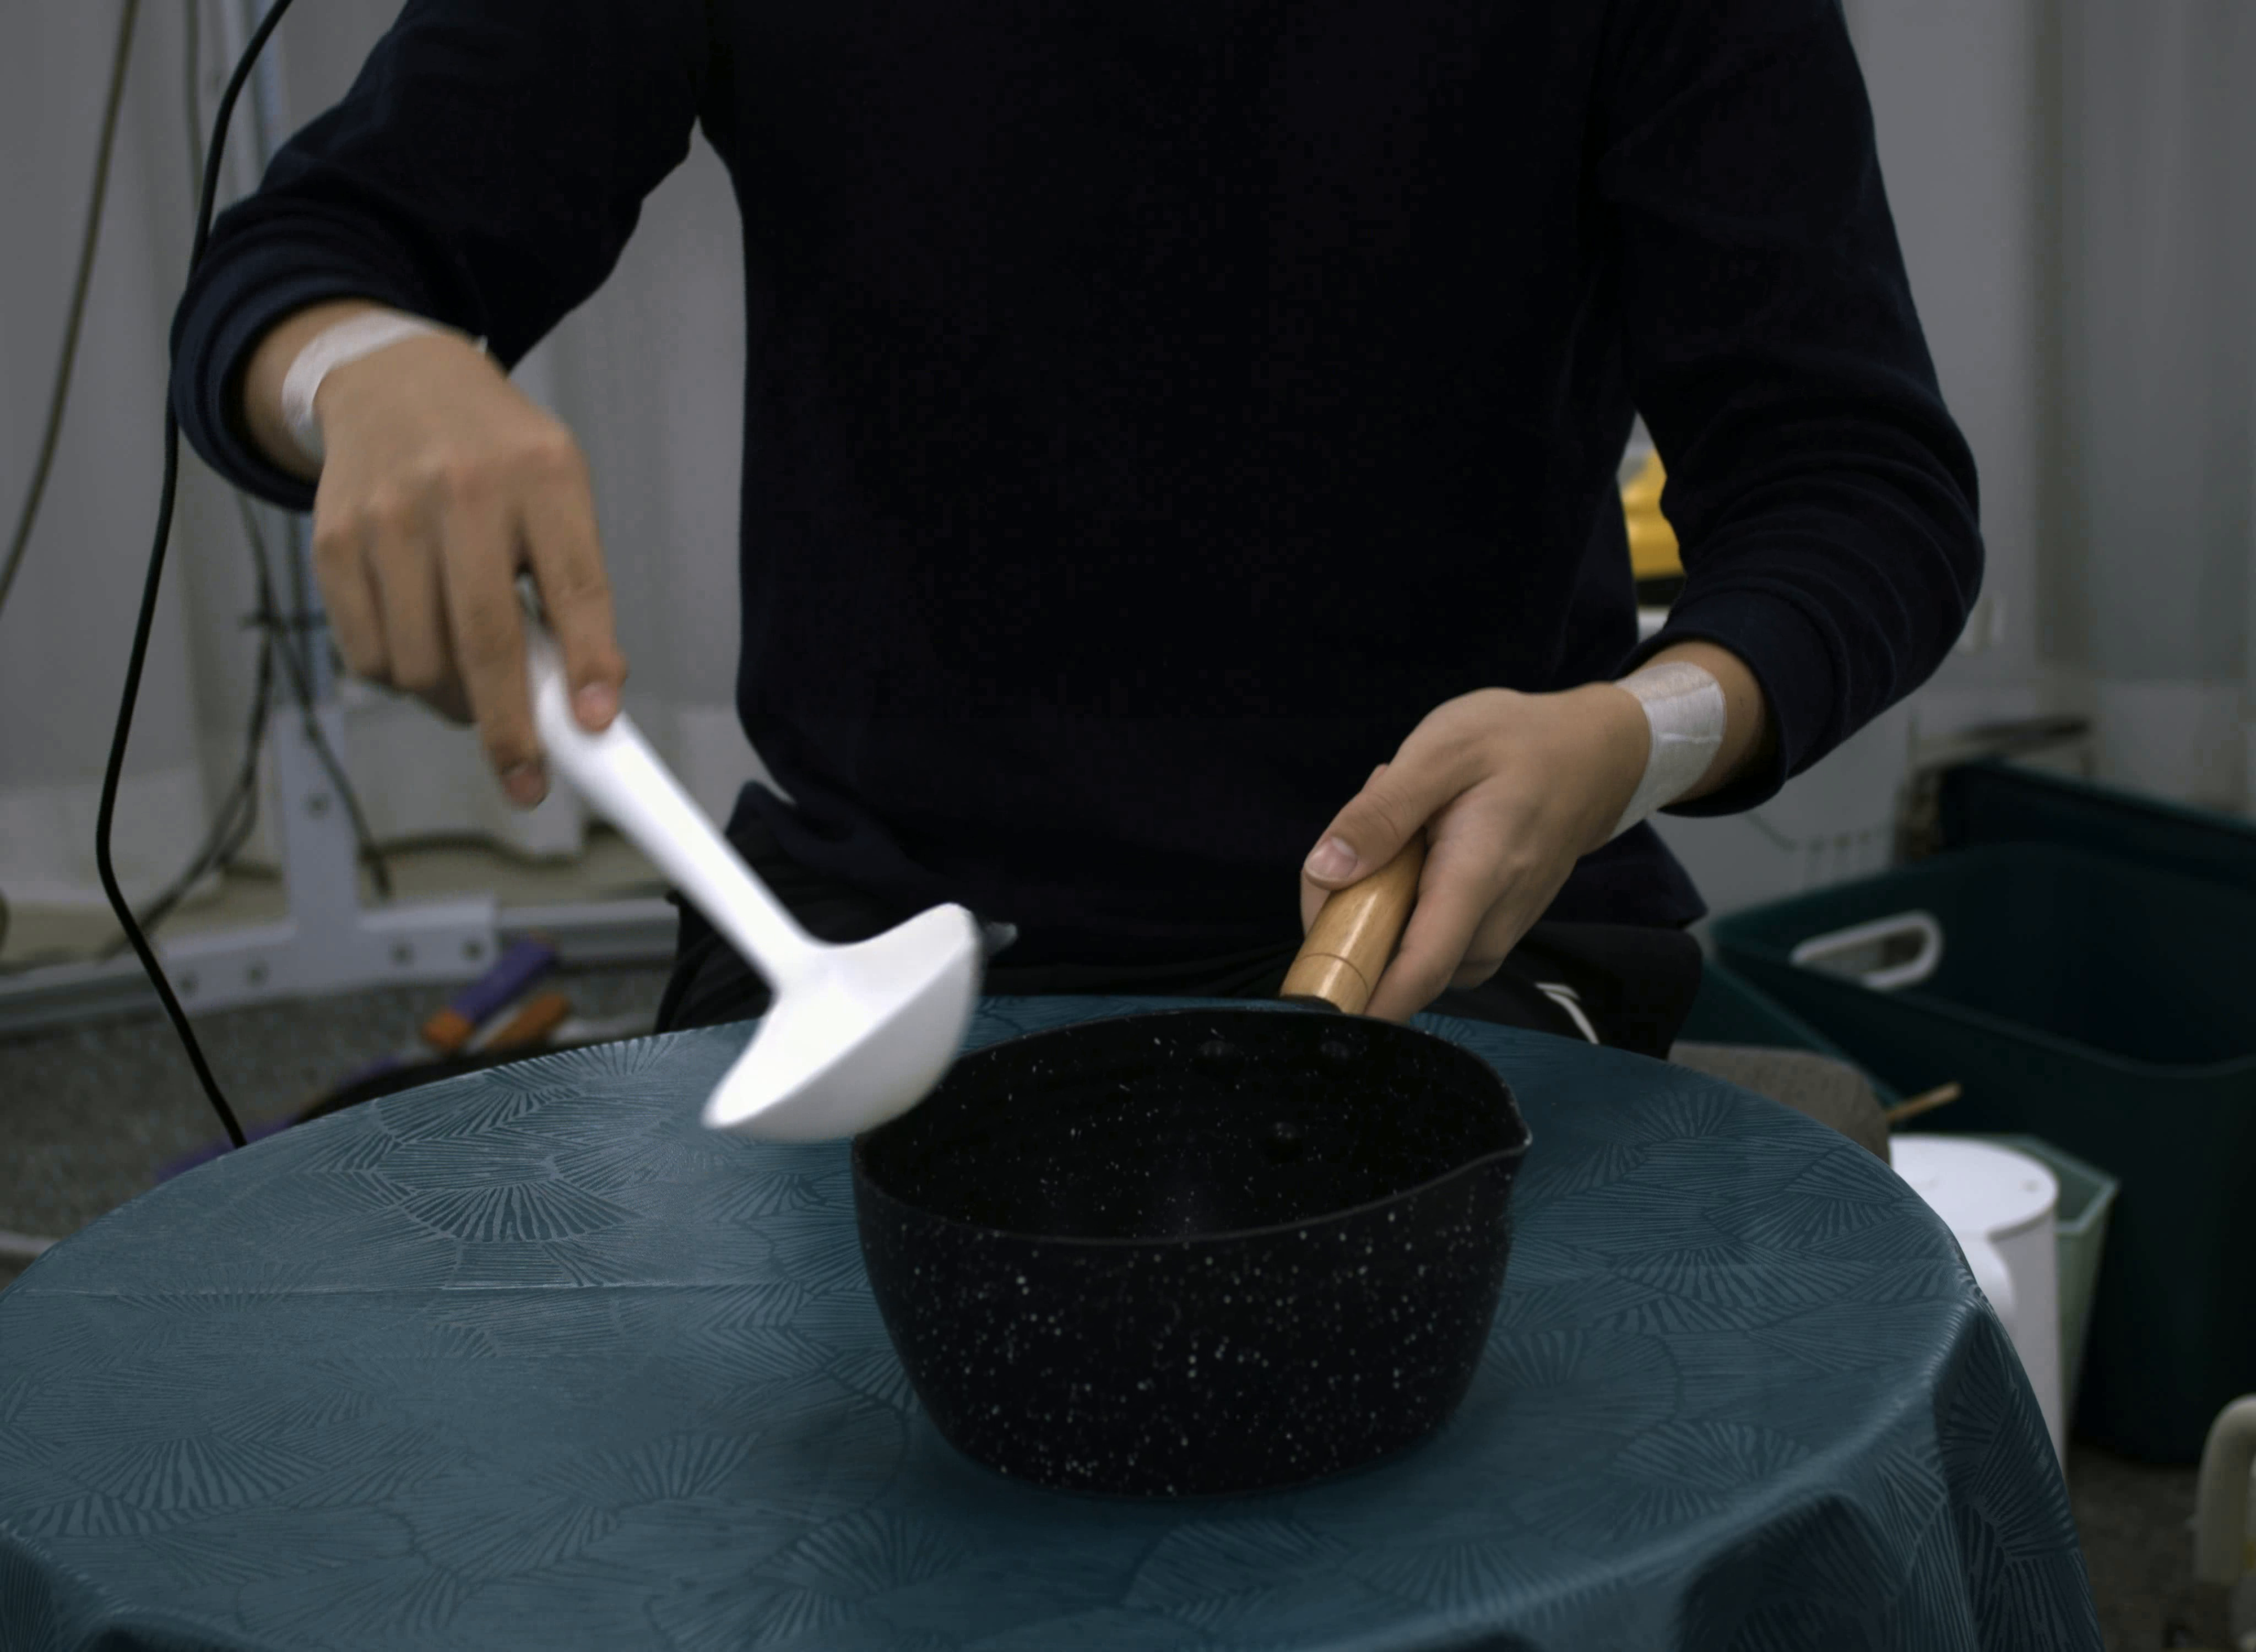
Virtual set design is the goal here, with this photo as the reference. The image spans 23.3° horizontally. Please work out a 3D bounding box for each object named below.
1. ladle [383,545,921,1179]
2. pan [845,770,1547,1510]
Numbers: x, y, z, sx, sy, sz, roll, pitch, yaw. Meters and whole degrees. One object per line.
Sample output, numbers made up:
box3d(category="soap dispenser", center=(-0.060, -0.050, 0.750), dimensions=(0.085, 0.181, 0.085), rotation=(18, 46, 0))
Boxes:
box3d(category="ladle", center=(-0.144, 0.000, 1.530), dimensions=(0.297, 0.090, 0.069), rotation=(47, 3, 42))
box3d(category="pan", center=(0.040, 0.086, 1.589), dimensions=(0.207, 0.107, 0.344), rotation=(0, 18, 18))
